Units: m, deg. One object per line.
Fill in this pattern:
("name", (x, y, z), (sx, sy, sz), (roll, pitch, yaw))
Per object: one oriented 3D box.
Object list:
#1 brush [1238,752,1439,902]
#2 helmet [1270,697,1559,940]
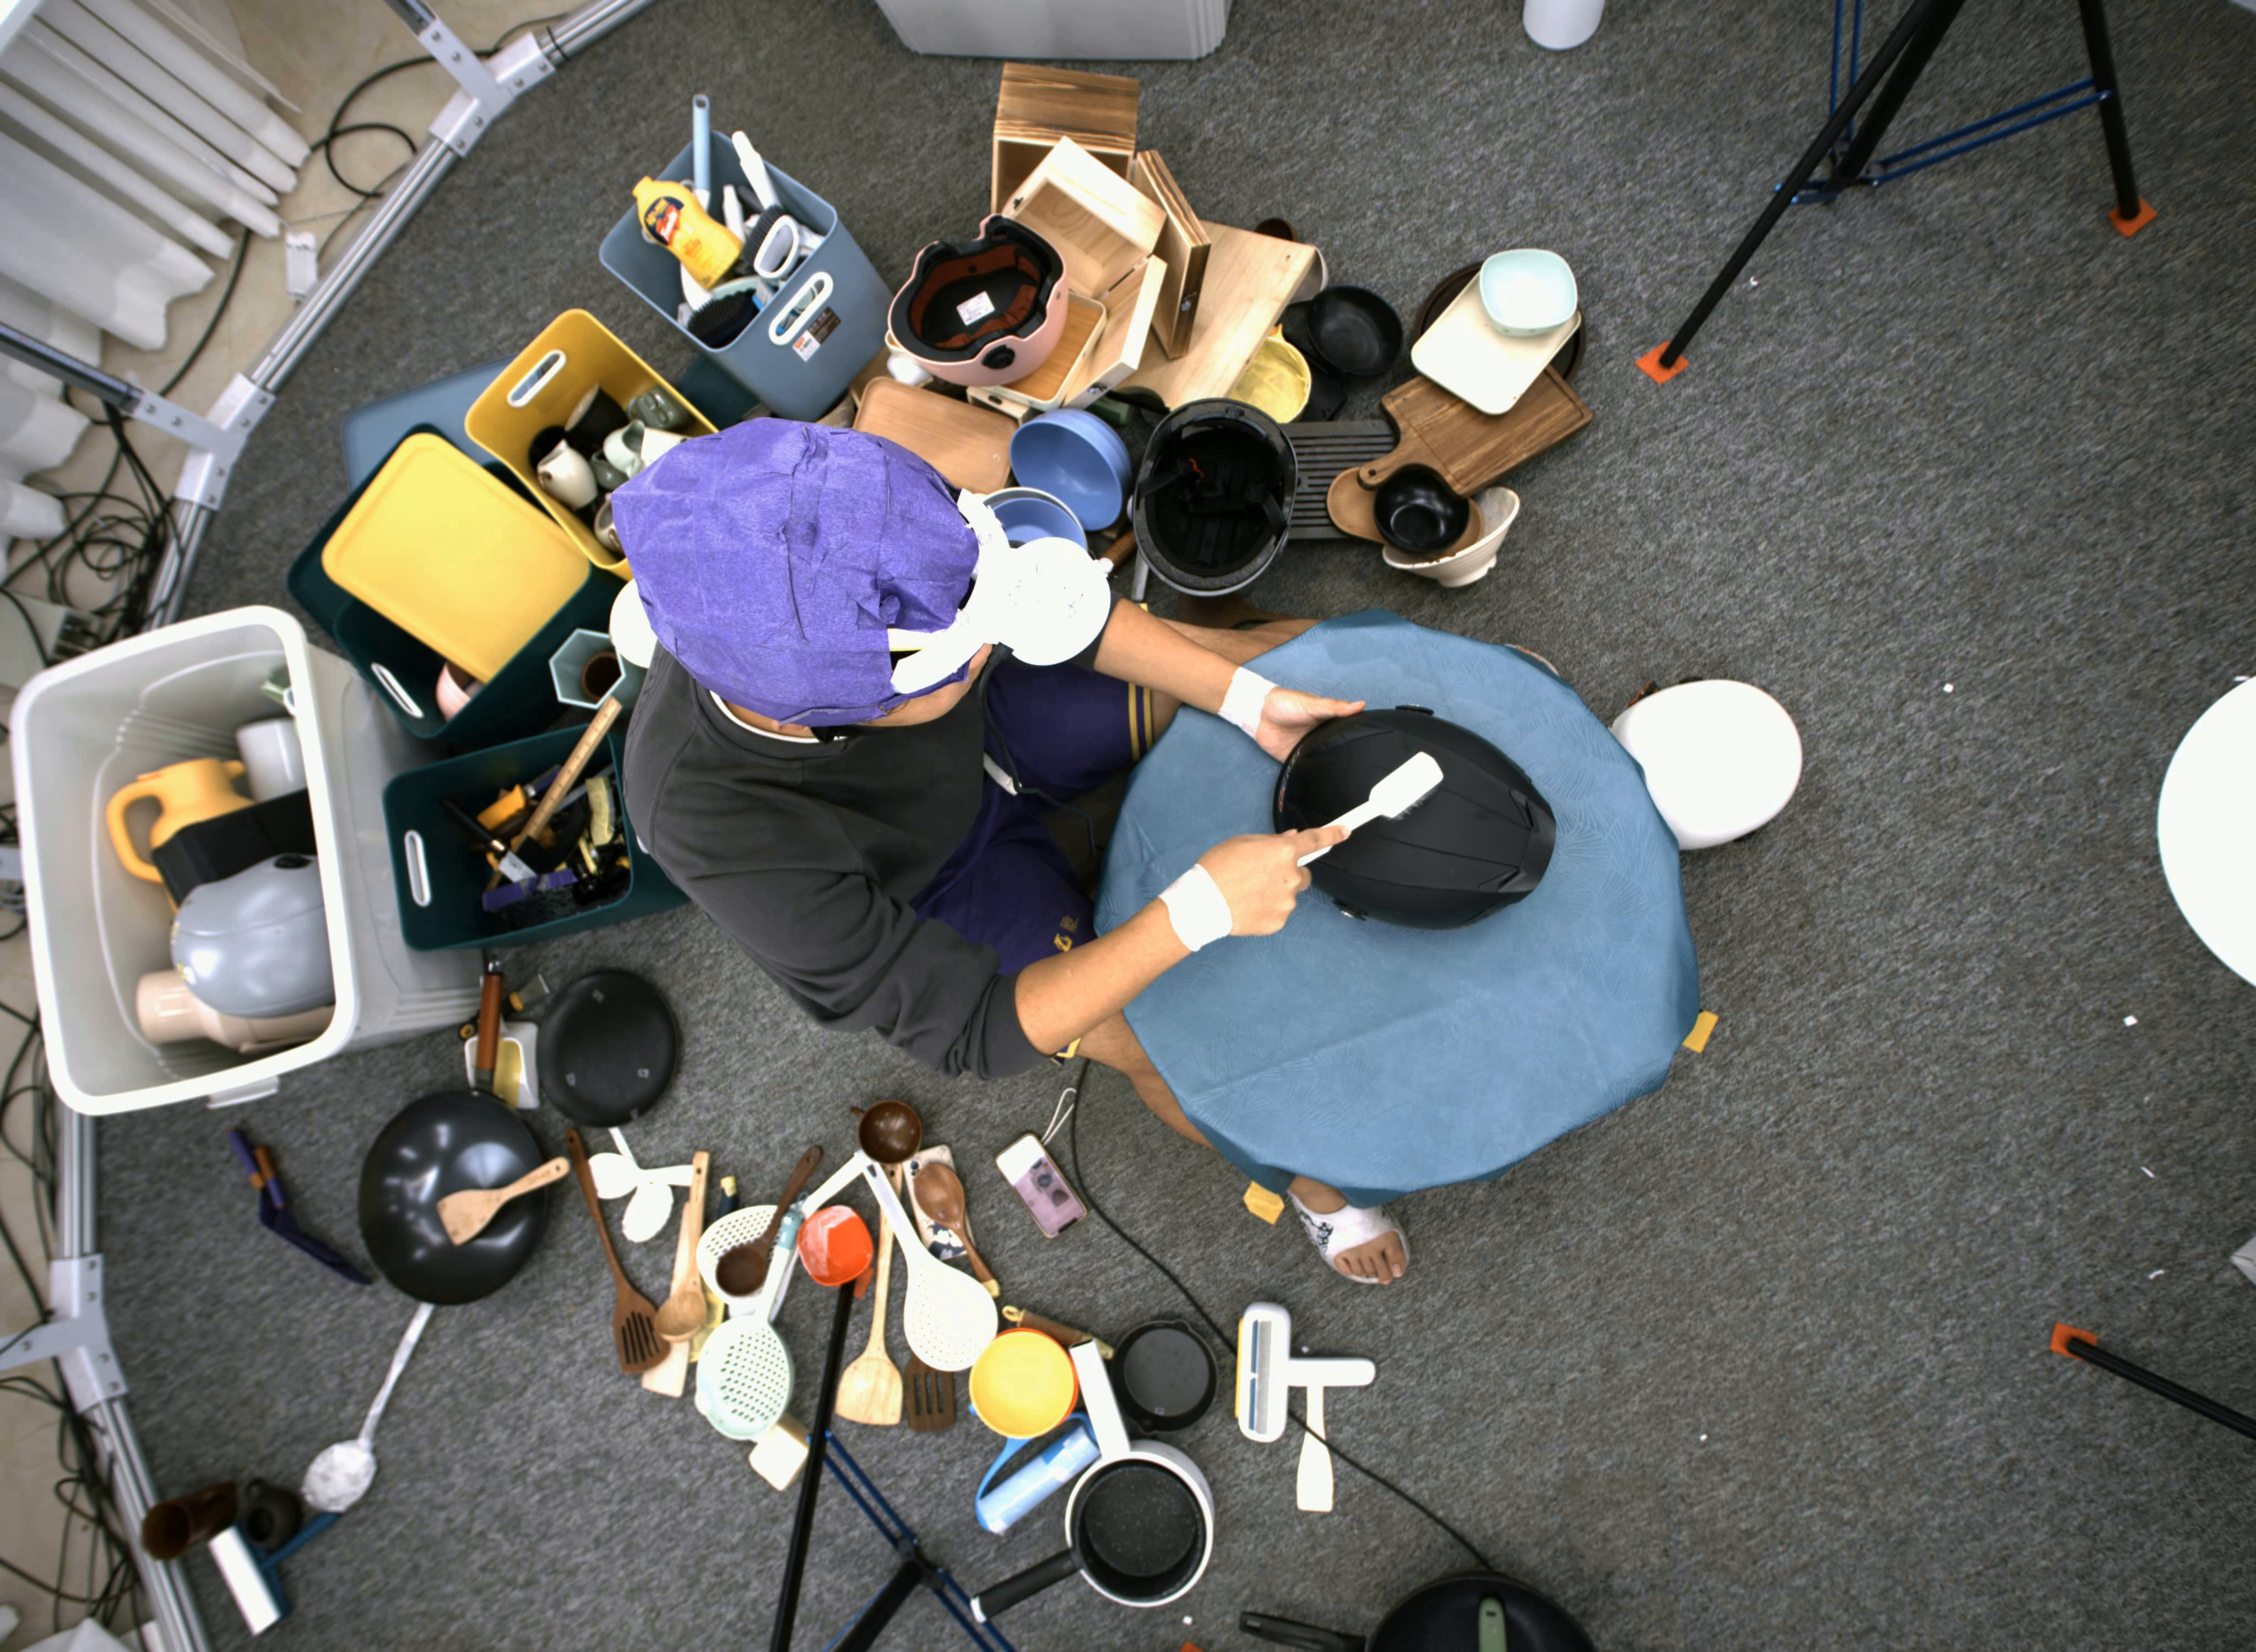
("brush", (0.190, 0.006, 1.250), (0.240, 0.051, 0.034), (-33, 75, -20))
("helmet", (0.283, -0.014, 1.377), (0.277, 0.172, 0.247), (20, 92, 7))
